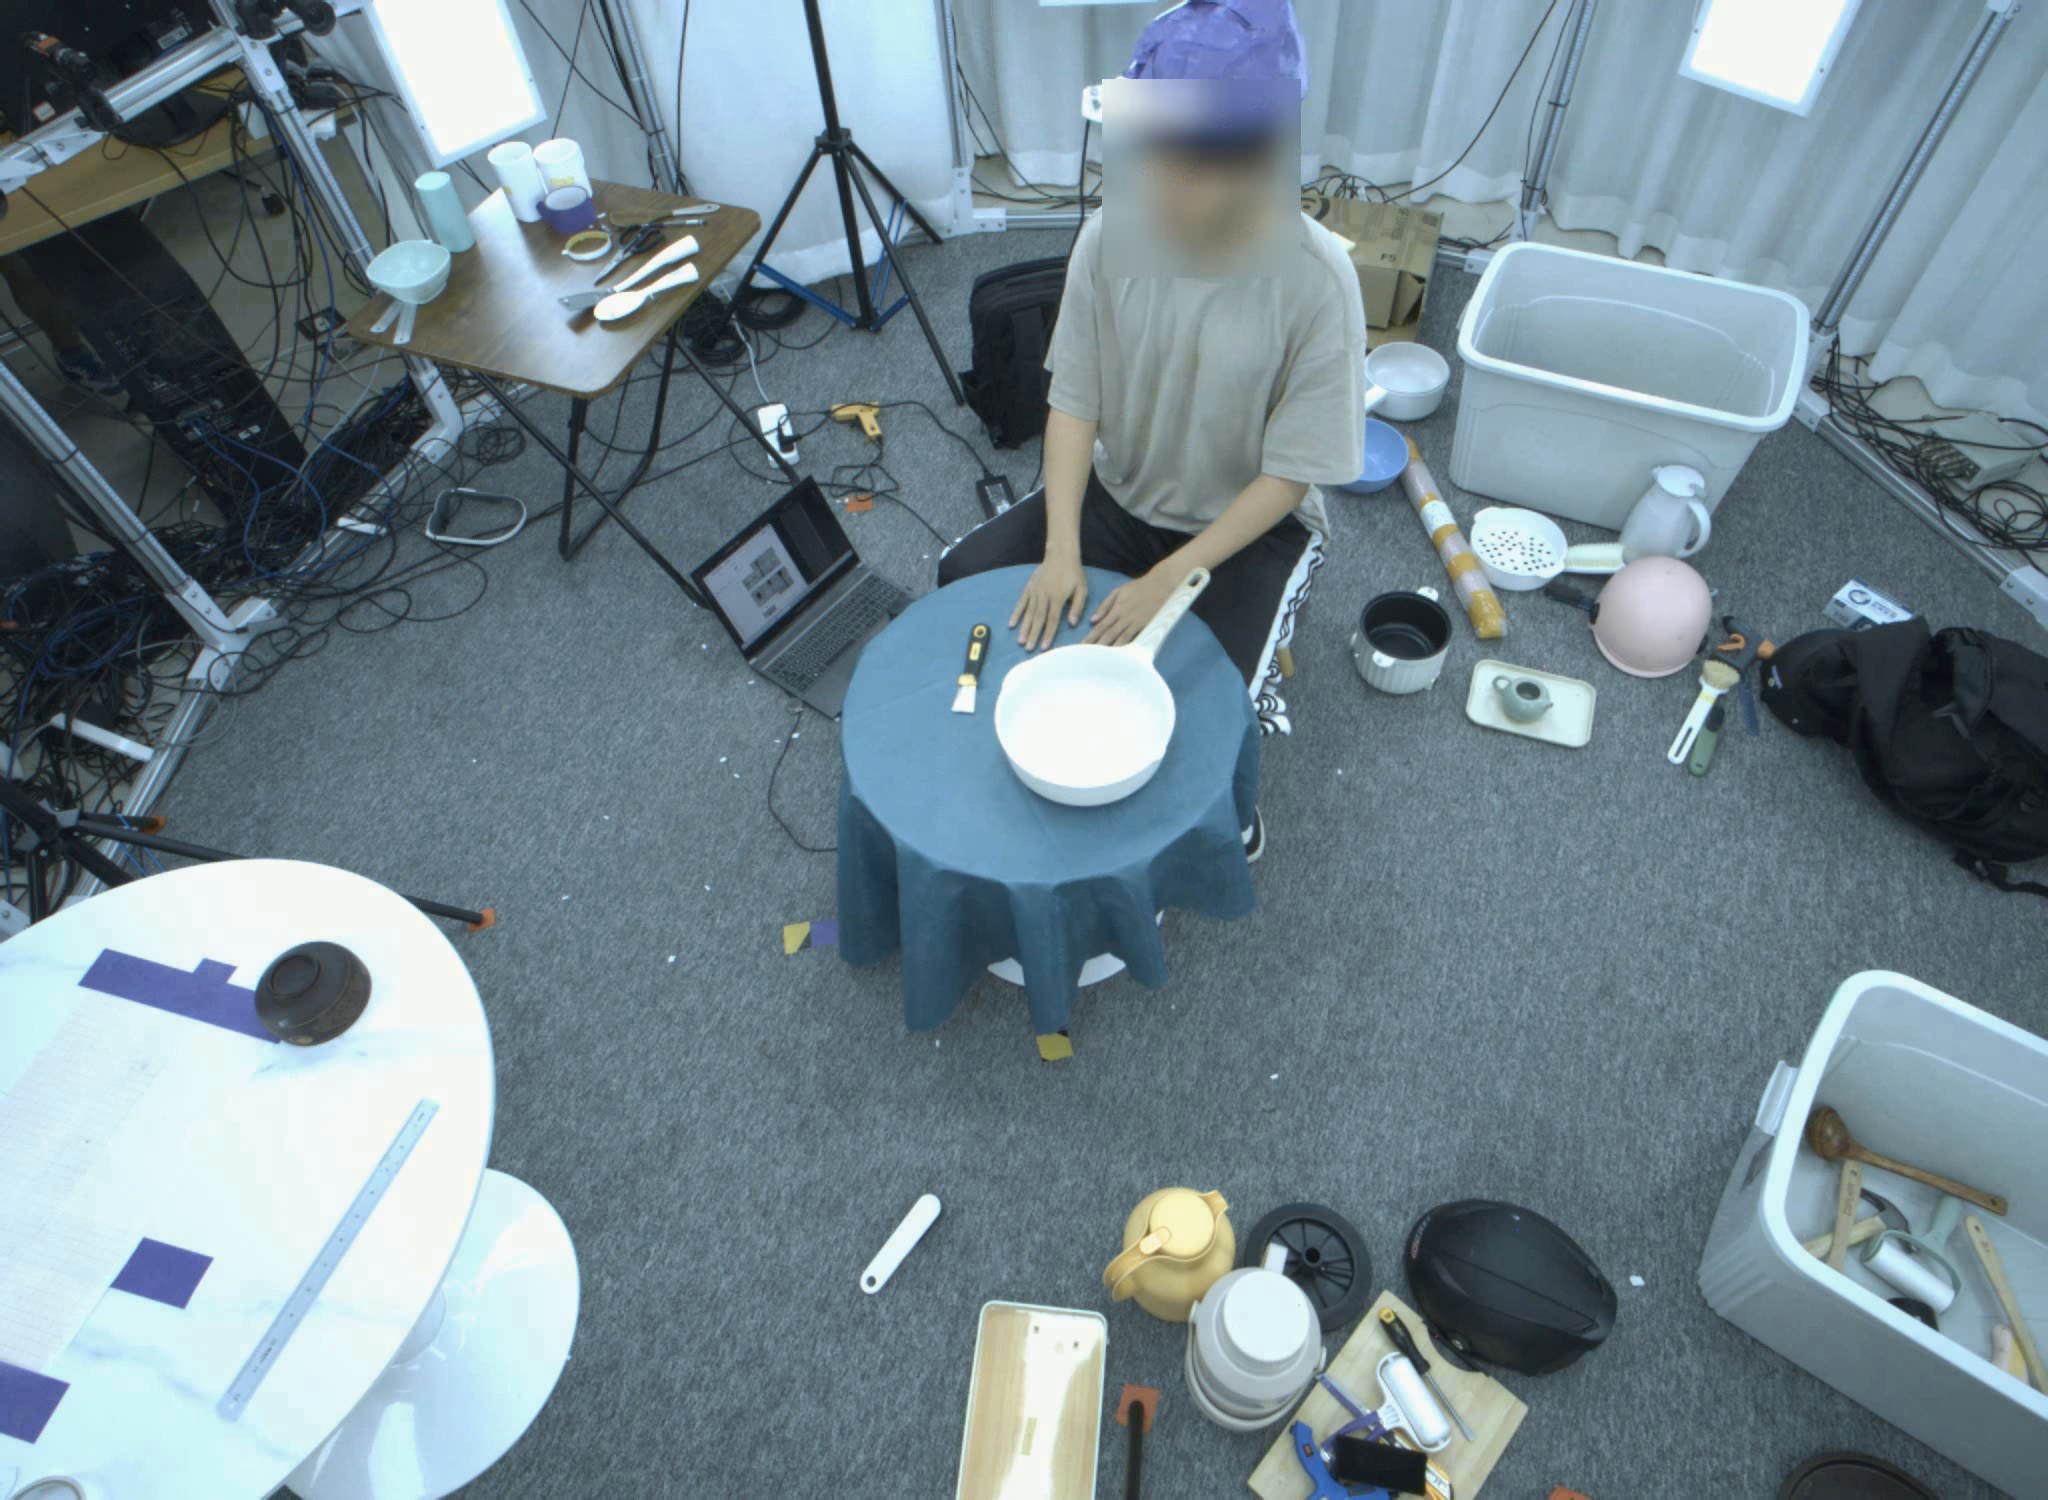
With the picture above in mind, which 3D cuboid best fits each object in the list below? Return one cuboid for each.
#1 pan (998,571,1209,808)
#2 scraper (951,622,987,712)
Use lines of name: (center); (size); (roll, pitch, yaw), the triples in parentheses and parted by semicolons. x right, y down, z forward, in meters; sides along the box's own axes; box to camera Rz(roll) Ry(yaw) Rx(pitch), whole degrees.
pan: (0.146, -0.092, 1.786); (0.259, 0.103, 0.437); (29, 61, 24)
scraper: (-0.082, -0.127, 1.868); (0.038, 0.015, 0.169); (1, 57, 11)
